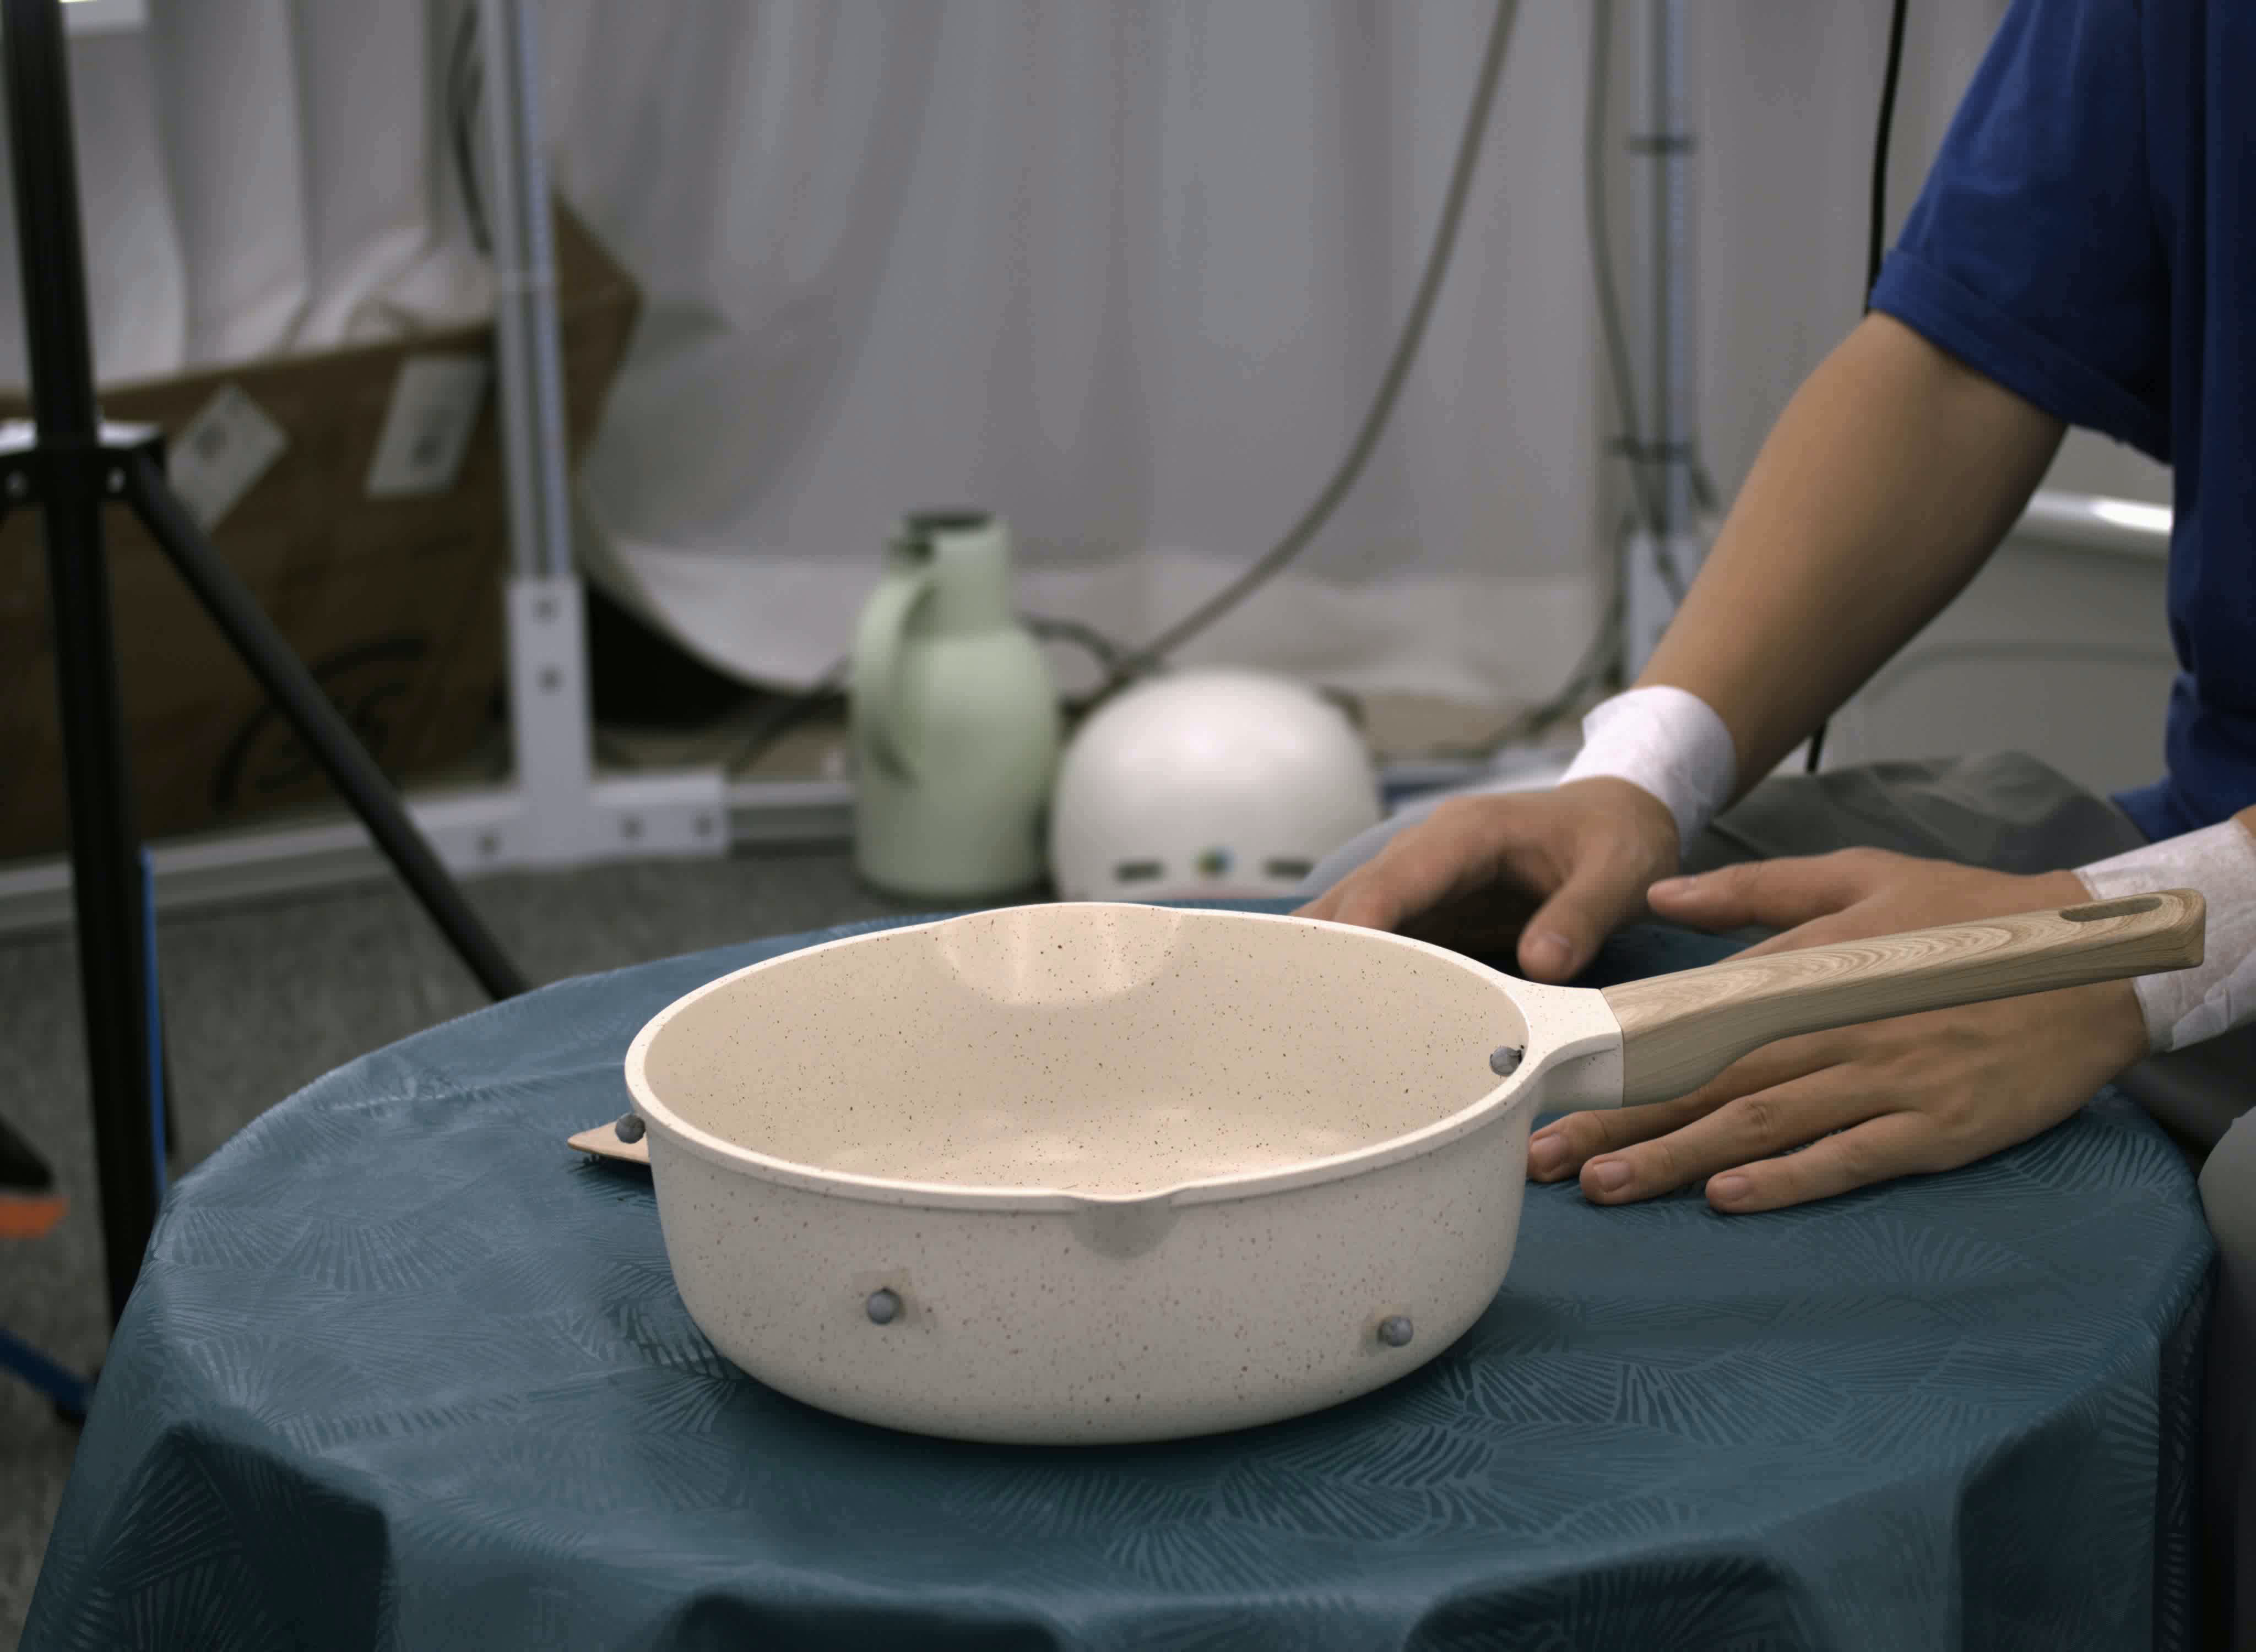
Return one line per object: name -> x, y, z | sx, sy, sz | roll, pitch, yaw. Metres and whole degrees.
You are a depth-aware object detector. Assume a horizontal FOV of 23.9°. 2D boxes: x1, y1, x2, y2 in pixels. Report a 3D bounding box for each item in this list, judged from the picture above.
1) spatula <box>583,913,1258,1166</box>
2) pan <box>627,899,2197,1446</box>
spatula -> -0.053, 0.068, 1.691 | 0.074, 0.010, 0.287 | 8, 19, 38
pan -> 0.082, 0.084, 1.446 | 0.431, 0.102, 0.265 | -3, 14, -4
